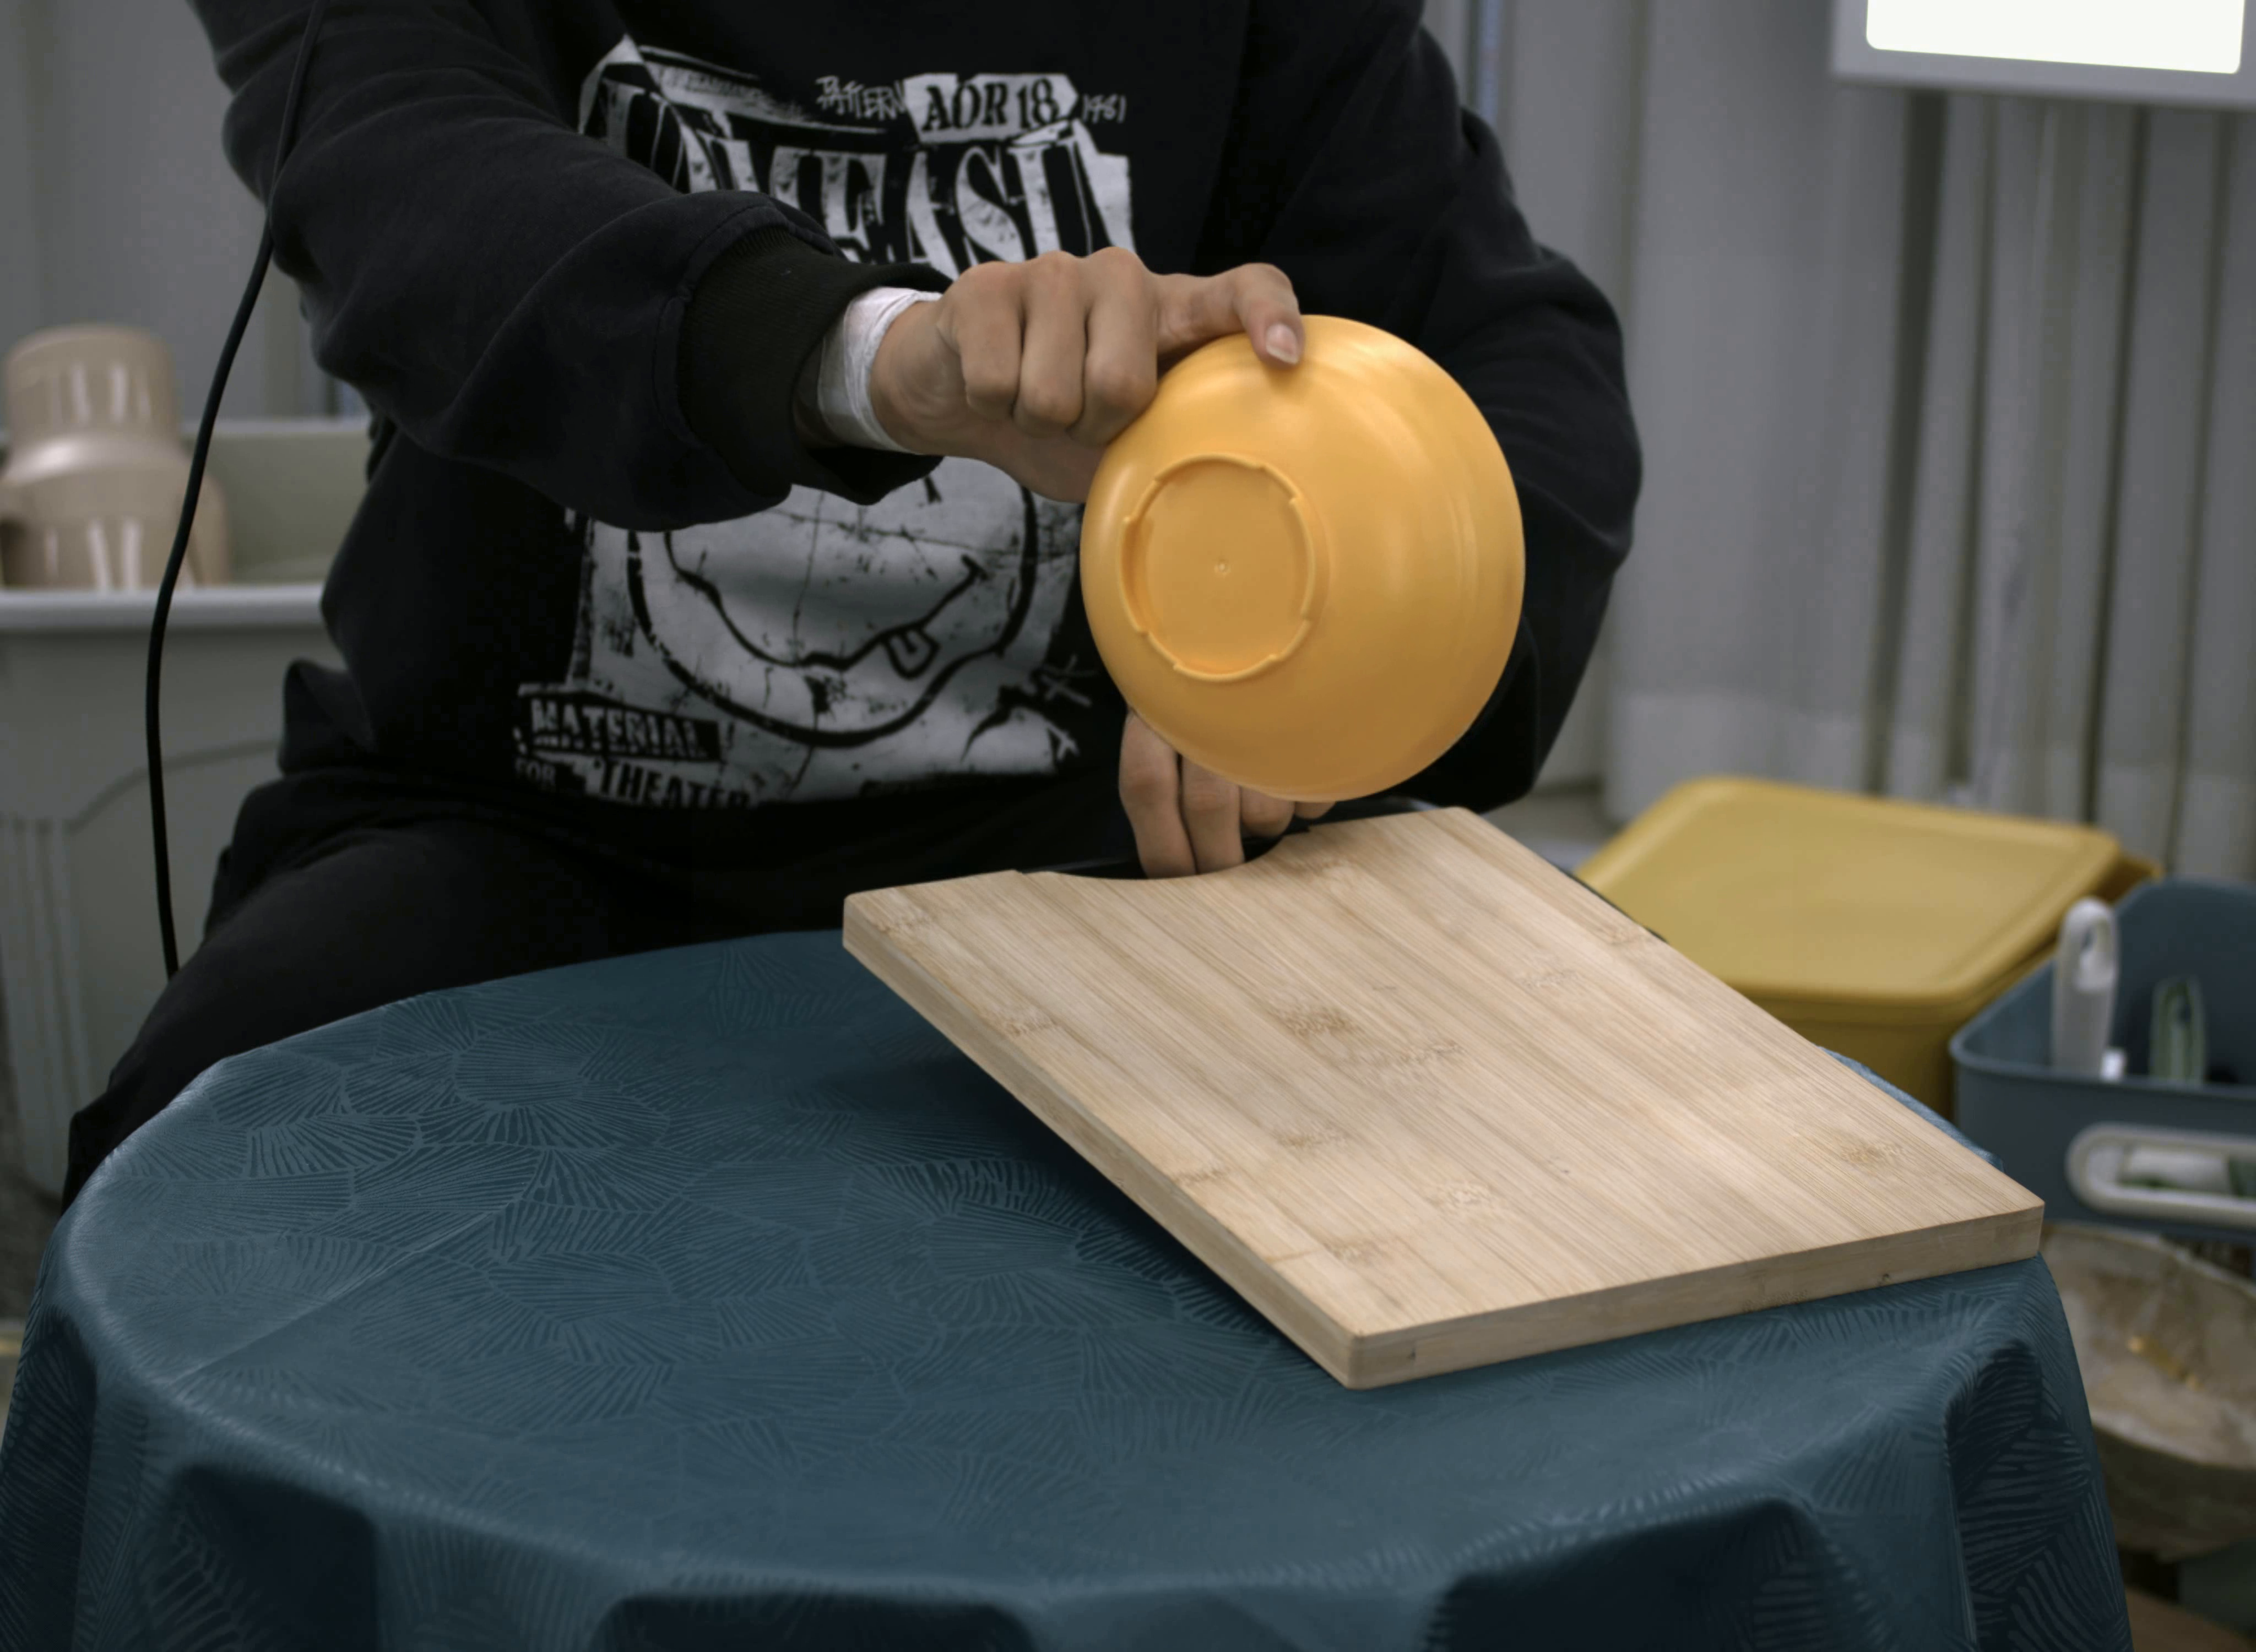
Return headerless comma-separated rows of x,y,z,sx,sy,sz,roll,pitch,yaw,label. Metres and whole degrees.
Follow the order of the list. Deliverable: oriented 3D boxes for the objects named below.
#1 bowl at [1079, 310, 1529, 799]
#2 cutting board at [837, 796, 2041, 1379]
0.040,-0.079,1.533,0.143,0.146,0.060,9,8,26,bowl
0.088,0.074,1.659,0.252,0.024,0.344,-8,25,-28,cutting board
